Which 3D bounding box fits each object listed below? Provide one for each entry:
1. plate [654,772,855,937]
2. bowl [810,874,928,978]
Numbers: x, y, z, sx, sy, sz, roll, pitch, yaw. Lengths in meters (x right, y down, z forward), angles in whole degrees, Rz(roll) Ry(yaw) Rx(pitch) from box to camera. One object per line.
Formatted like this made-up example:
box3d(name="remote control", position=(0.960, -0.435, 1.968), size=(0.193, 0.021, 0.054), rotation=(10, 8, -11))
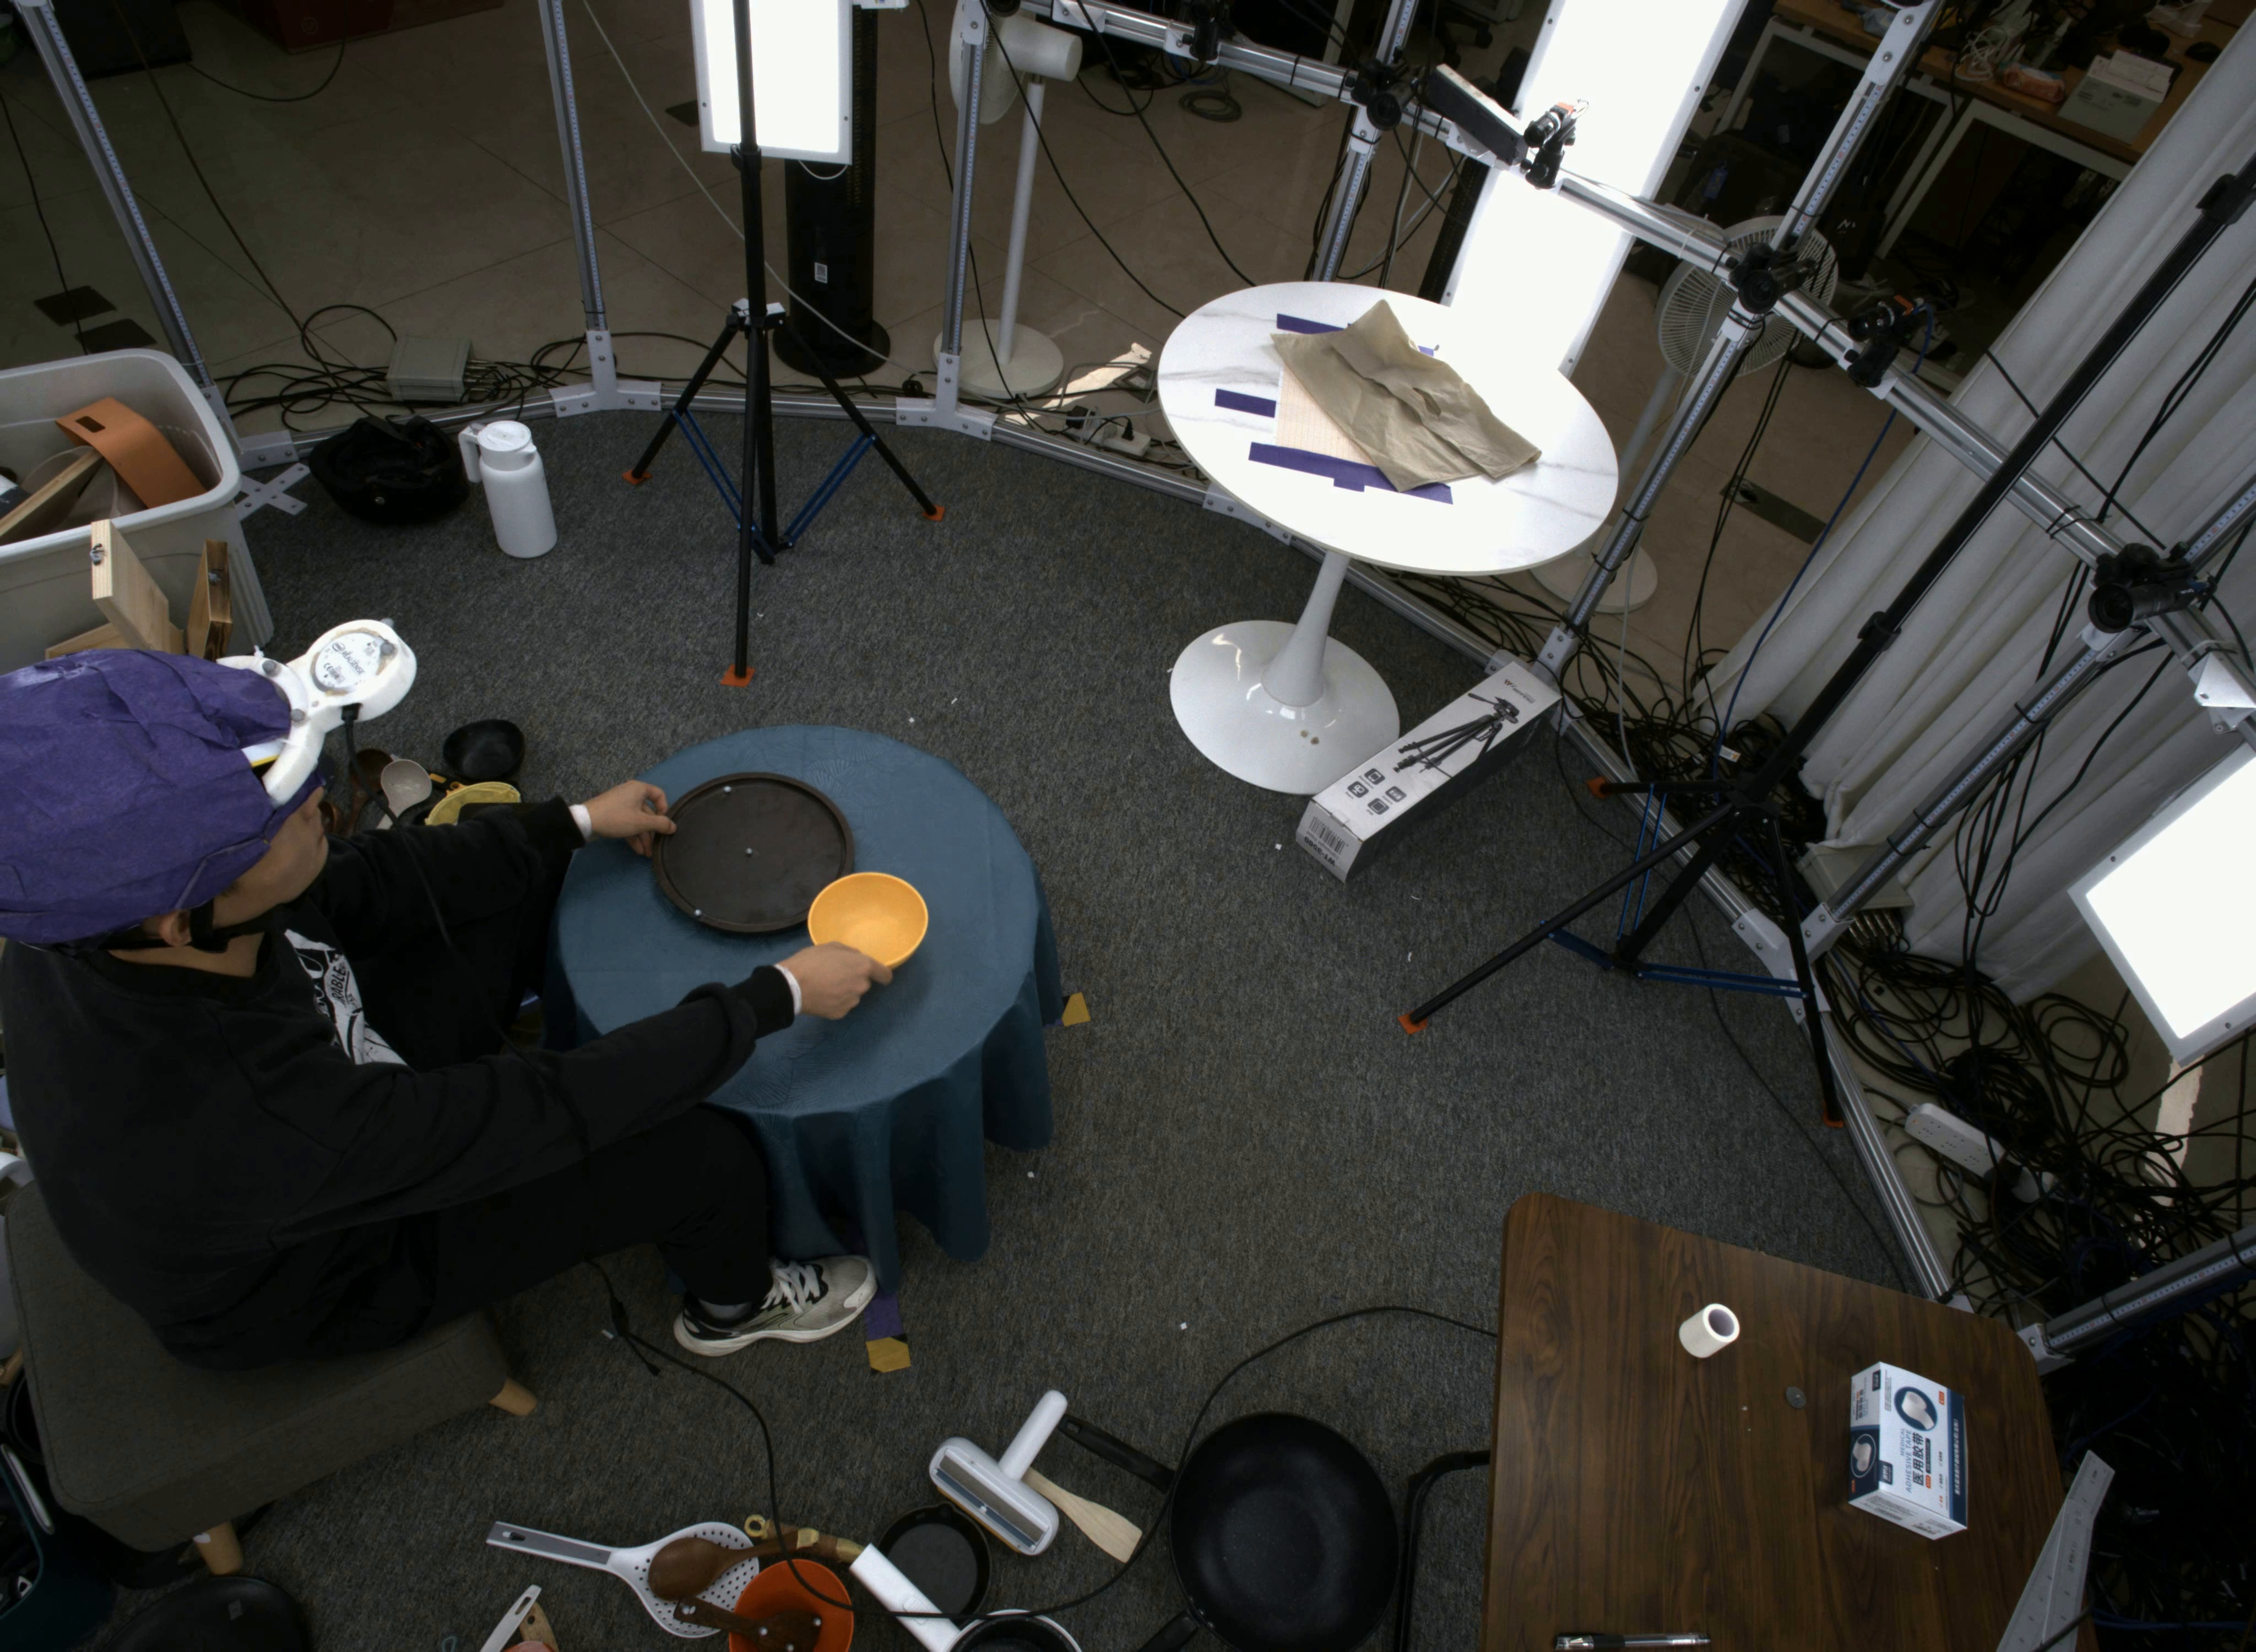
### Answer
box3d(name="plate", position=(-0.481, 0.034, 1.670), size=(0.255, 0.029, 0.250), rotation=(9, 55, -11))
box3d(name="bowl", position=(-0.318, 0.133, 1.610), size=(0.144, 0.061, 0.143), rotation=(4, 54, -4))
